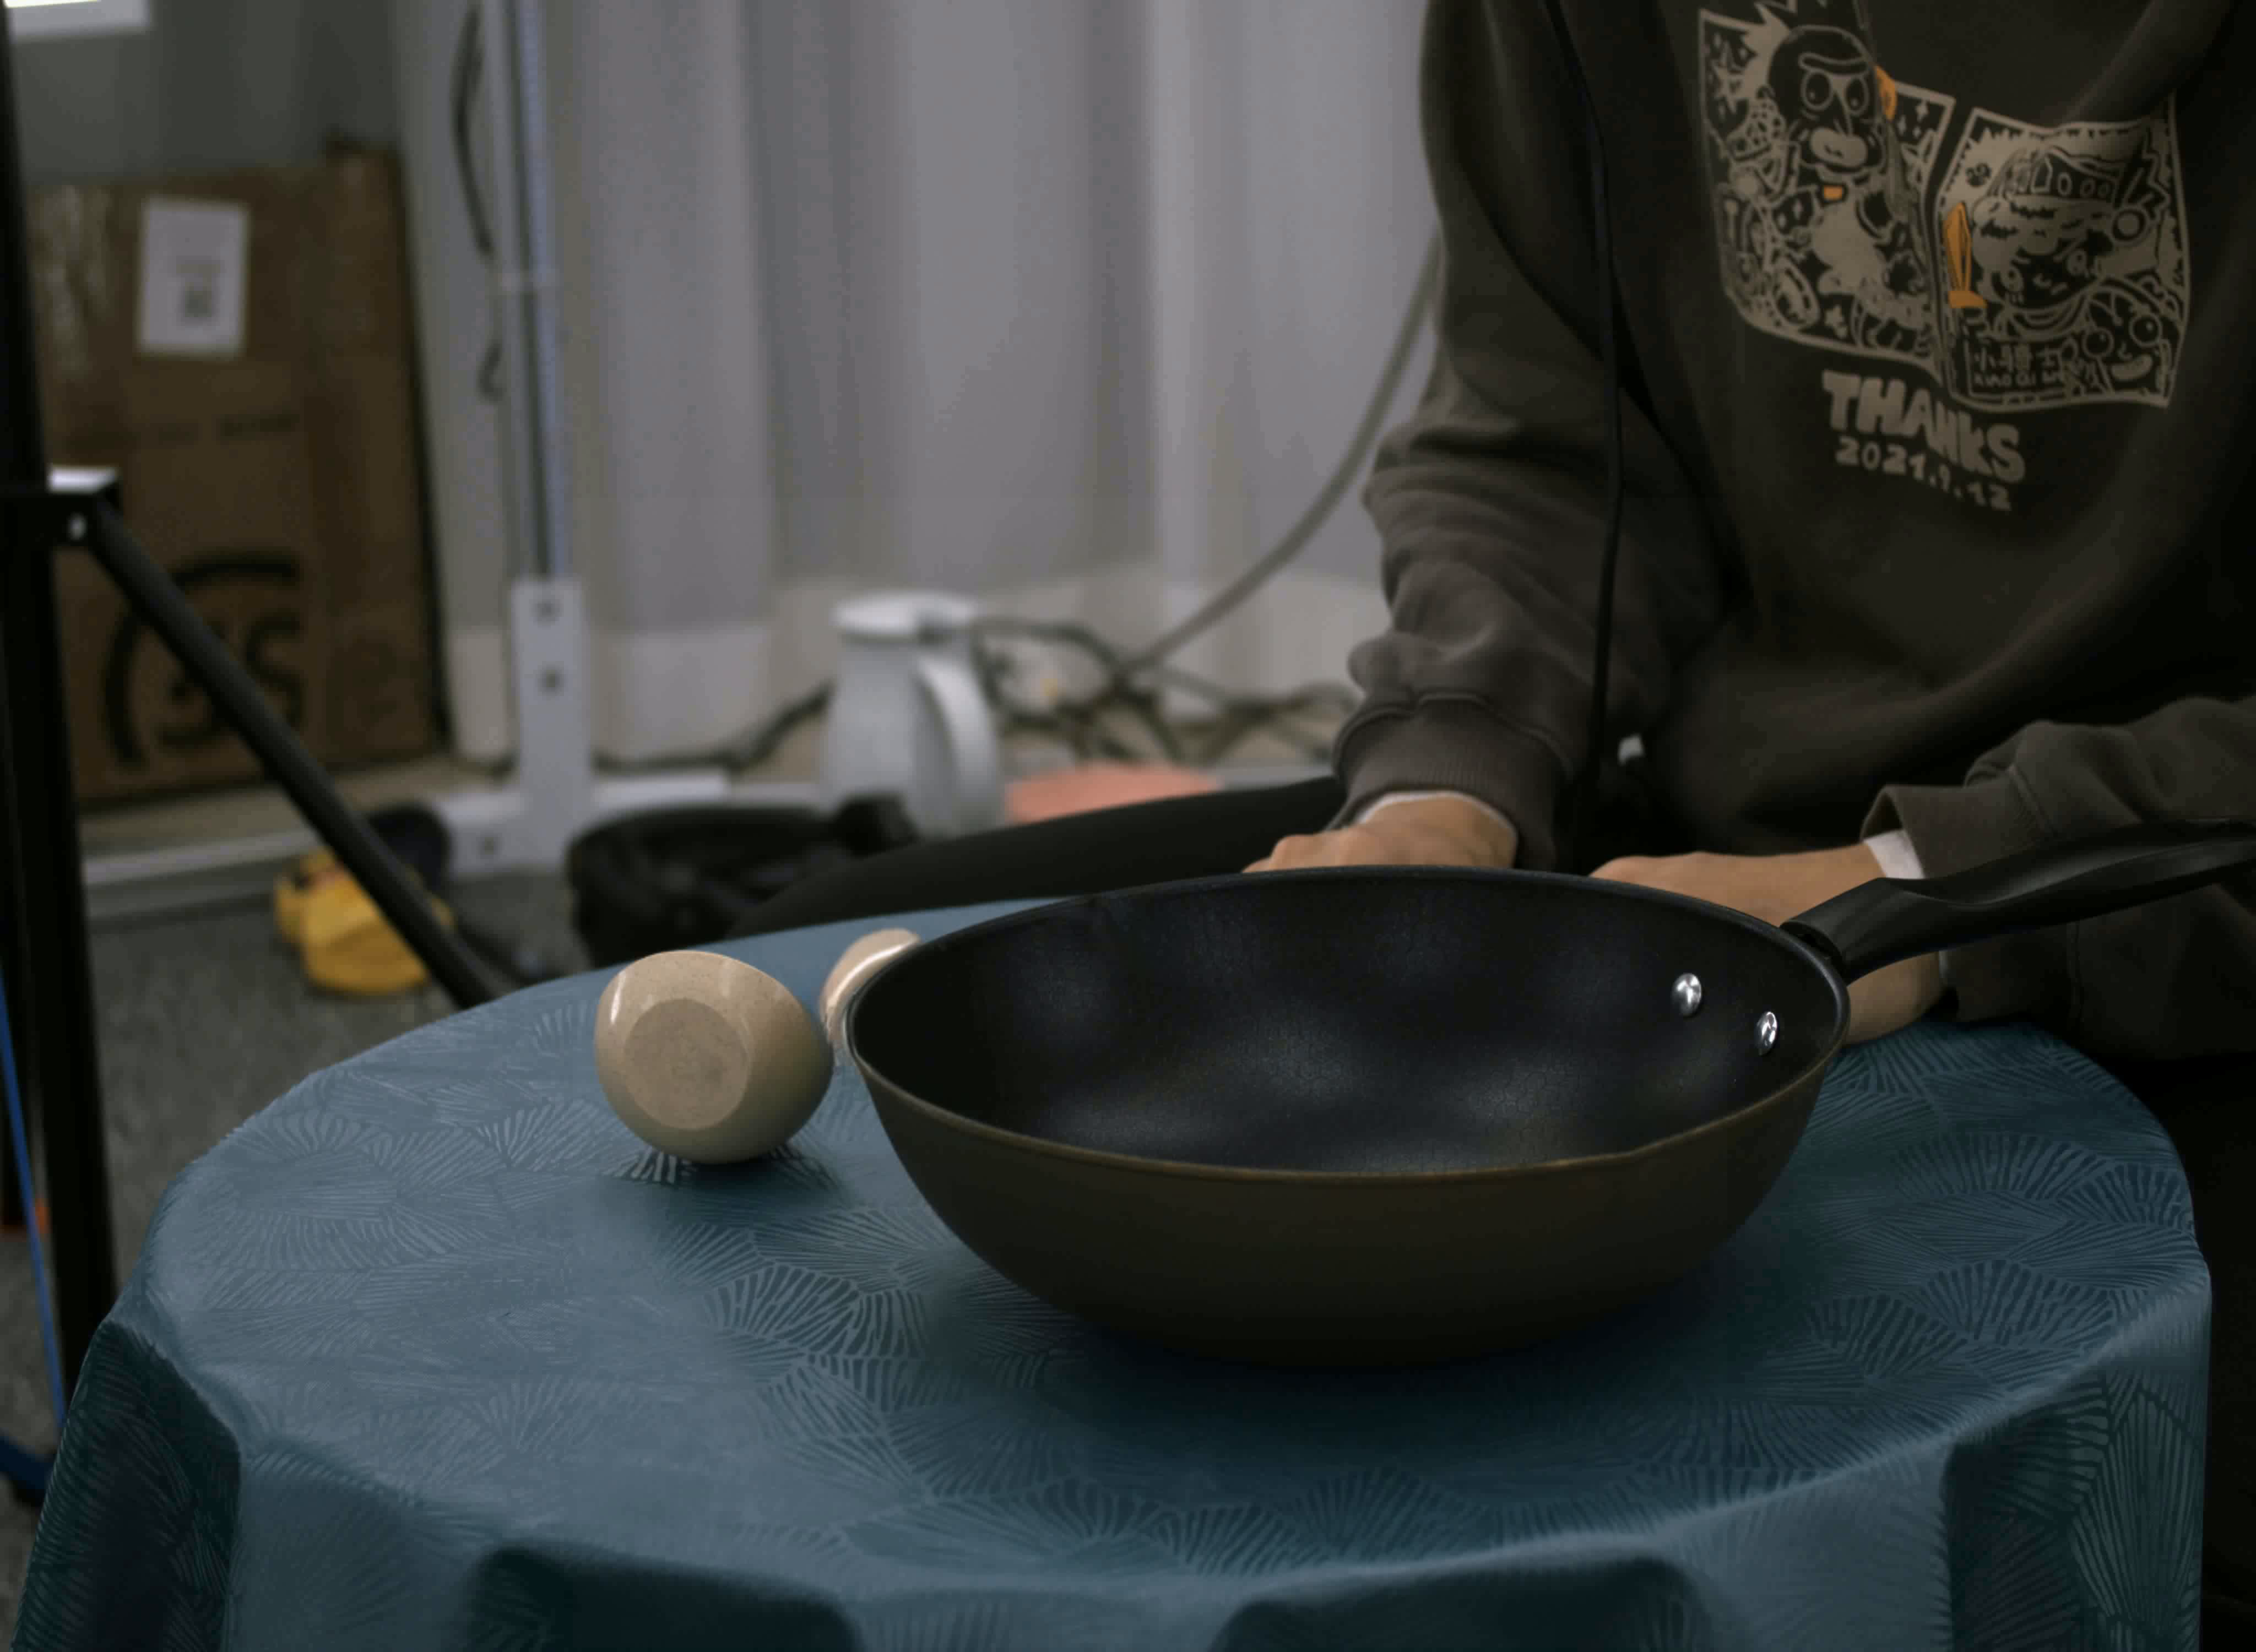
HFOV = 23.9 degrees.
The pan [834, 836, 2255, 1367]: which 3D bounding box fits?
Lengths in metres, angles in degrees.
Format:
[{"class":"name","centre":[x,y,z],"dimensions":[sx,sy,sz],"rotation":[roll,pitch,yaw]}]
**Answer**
[{"class":"pan","centre":[0.139,0.072,1.514],"dimensions":[0.454,0.087,0.294],"rotation":[-9,17,-25]}]

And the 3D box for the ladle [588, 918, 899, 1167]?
[{"class":"ladle","centre":[-0.109,0.038,1.692],"dimensions":[0.072,0.073,0.253],"rotation":[-2,17,11]}]
